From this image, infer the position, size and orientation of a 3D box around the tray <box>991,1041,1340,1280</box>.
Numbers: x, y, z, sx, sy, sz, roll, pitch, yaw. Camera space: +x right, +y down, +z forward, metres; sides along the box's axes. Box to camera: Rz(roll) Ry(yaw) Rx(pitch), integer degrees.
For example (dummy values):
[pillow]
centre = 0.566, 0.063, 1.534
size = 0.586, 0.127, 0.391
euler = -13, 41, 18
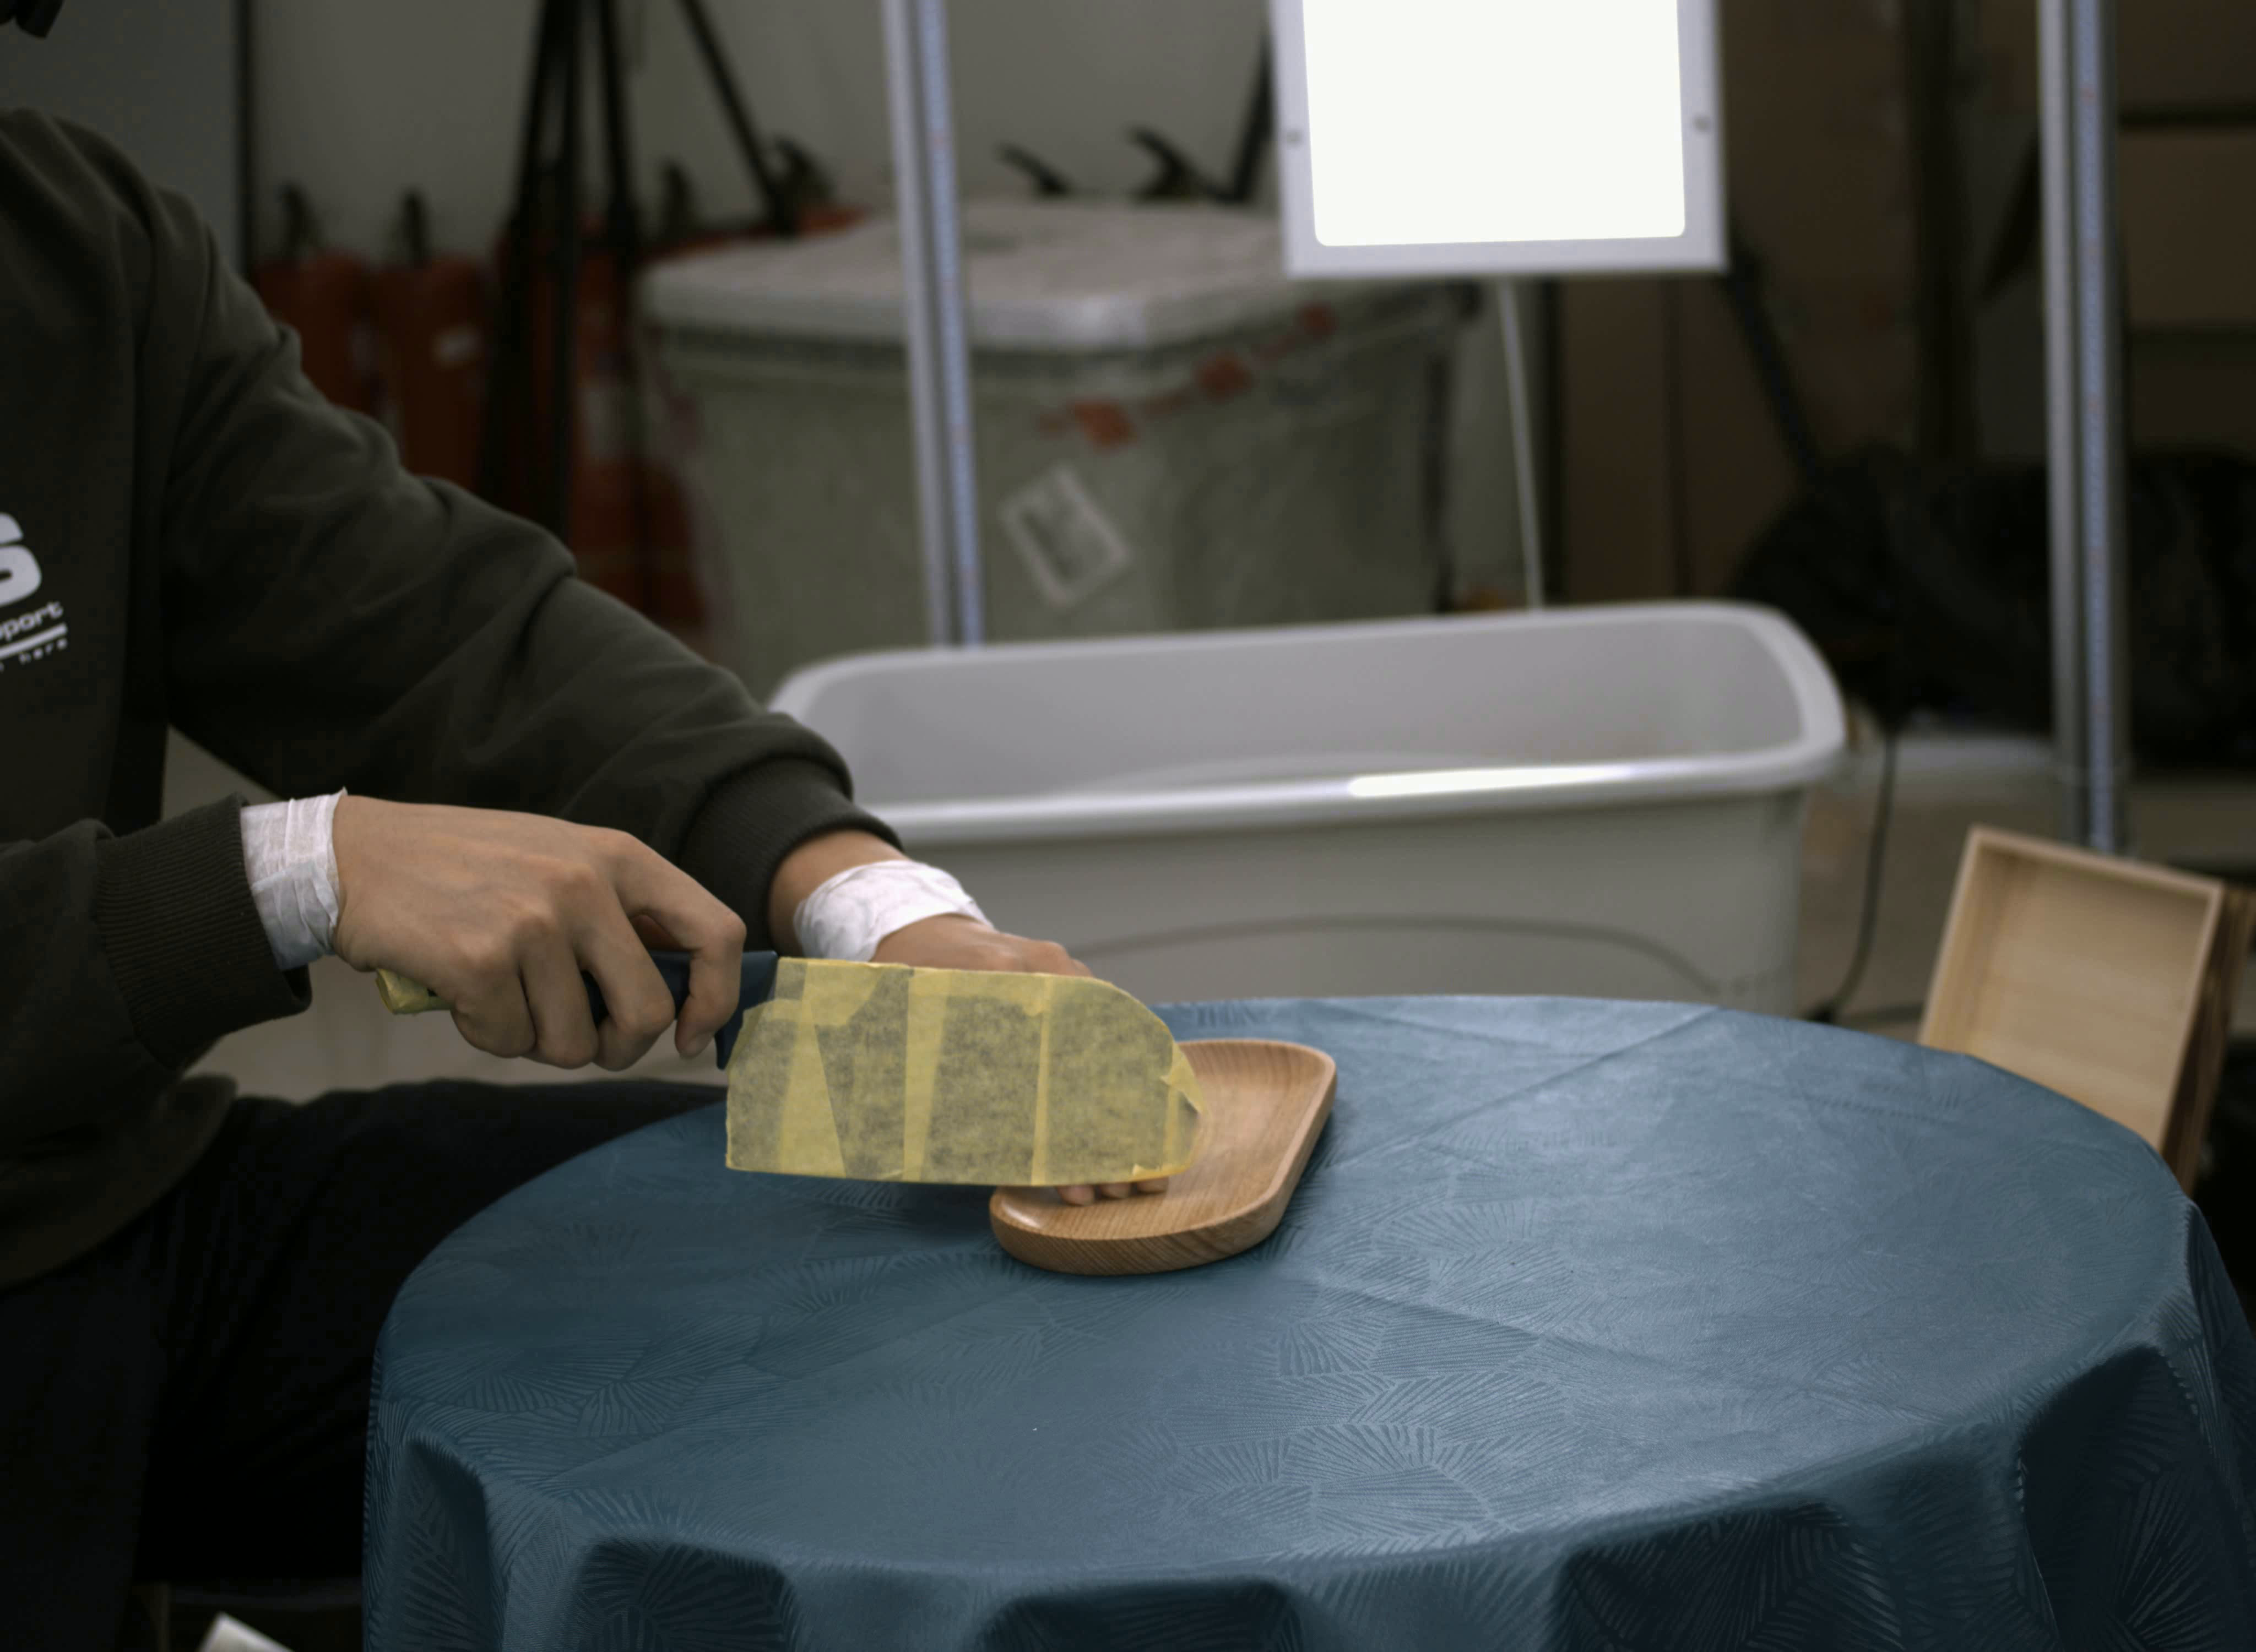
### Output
[tray]
centre = 0.016, 0.114, 1.915
size = 0.102, 0.020, 0.228
euler = -4, 15, 12

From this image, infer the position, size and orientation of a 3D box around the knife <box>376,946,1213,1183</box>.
[knife]
centre = -0.110, 0.078, 1.851
size = 0.286, 0.081, 0.027
euler = 6, -5, -9
